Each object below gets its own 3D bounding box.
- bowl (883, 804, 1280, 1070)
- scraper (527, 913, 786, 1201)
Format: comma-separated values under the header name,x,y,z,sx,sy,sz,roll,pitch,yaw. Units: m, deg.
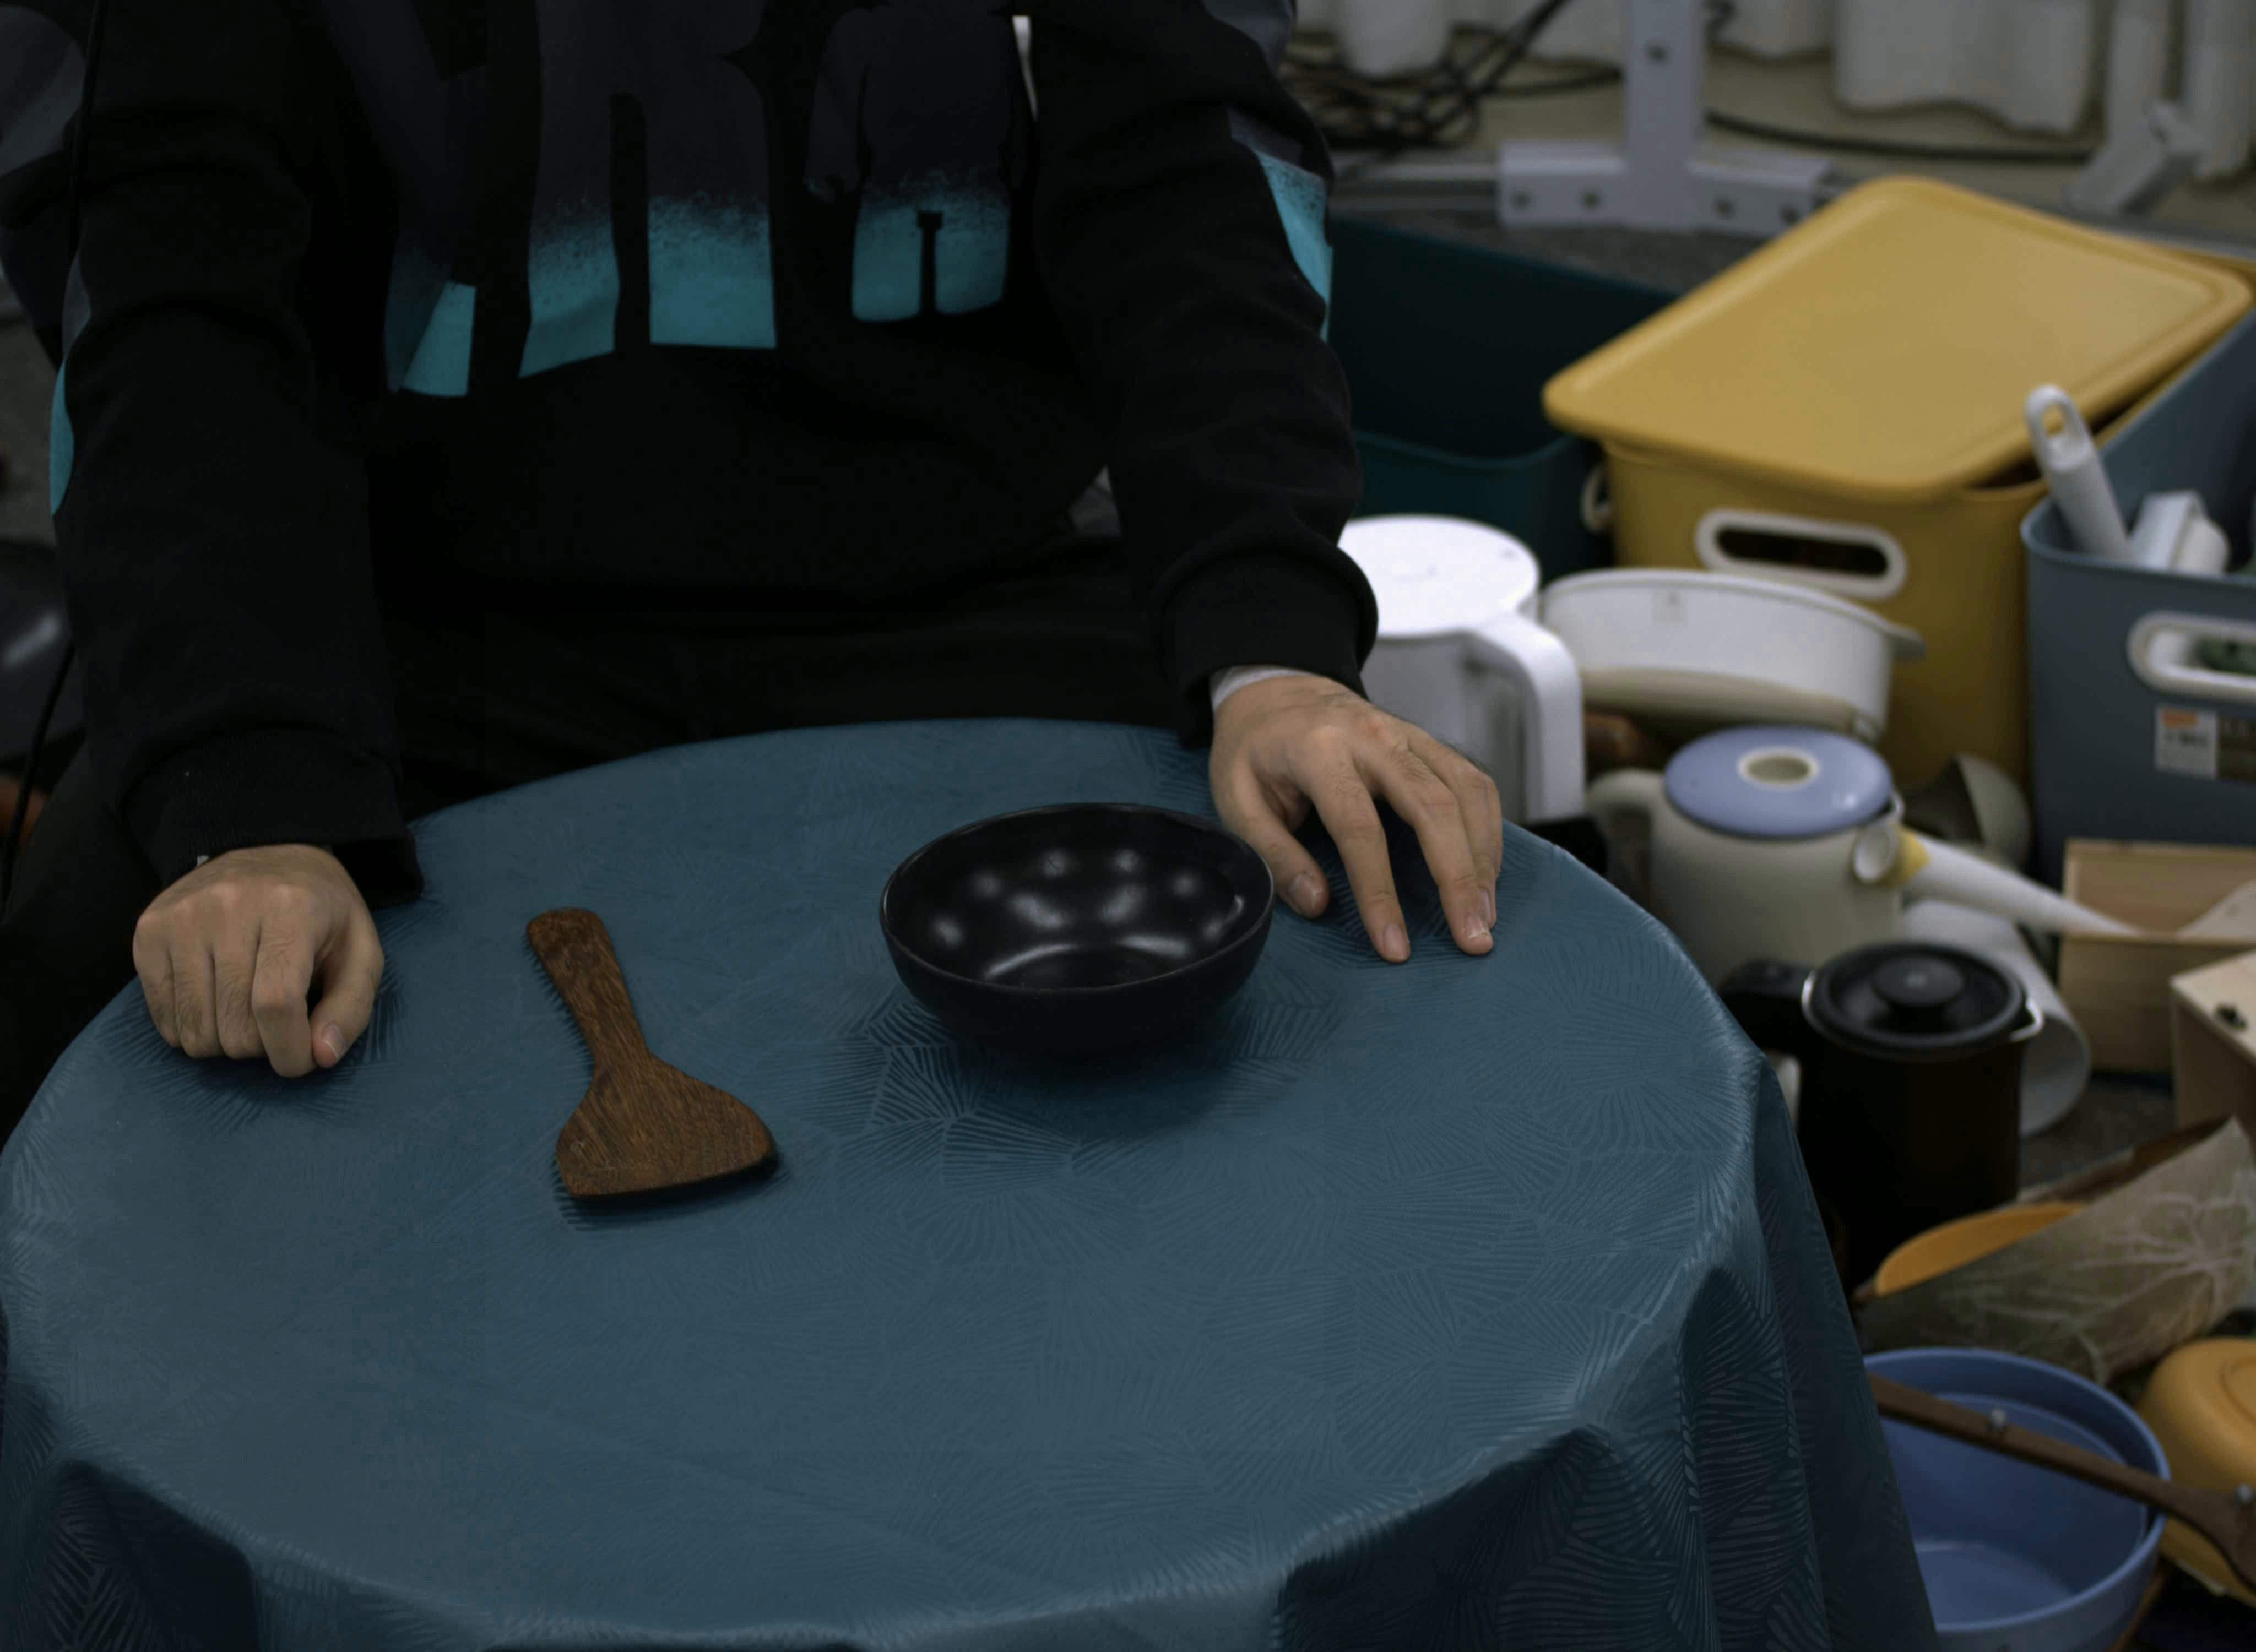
name,x,y,z,sx,sy,sz,roll,pitch,yaw
bowl,-0.014,0.046,1.957,0.139,0.049,0.142,-5,27,3
scraper,-0.176,0.079,1.954,0.076,0.011,0.213,-9,27,-14
